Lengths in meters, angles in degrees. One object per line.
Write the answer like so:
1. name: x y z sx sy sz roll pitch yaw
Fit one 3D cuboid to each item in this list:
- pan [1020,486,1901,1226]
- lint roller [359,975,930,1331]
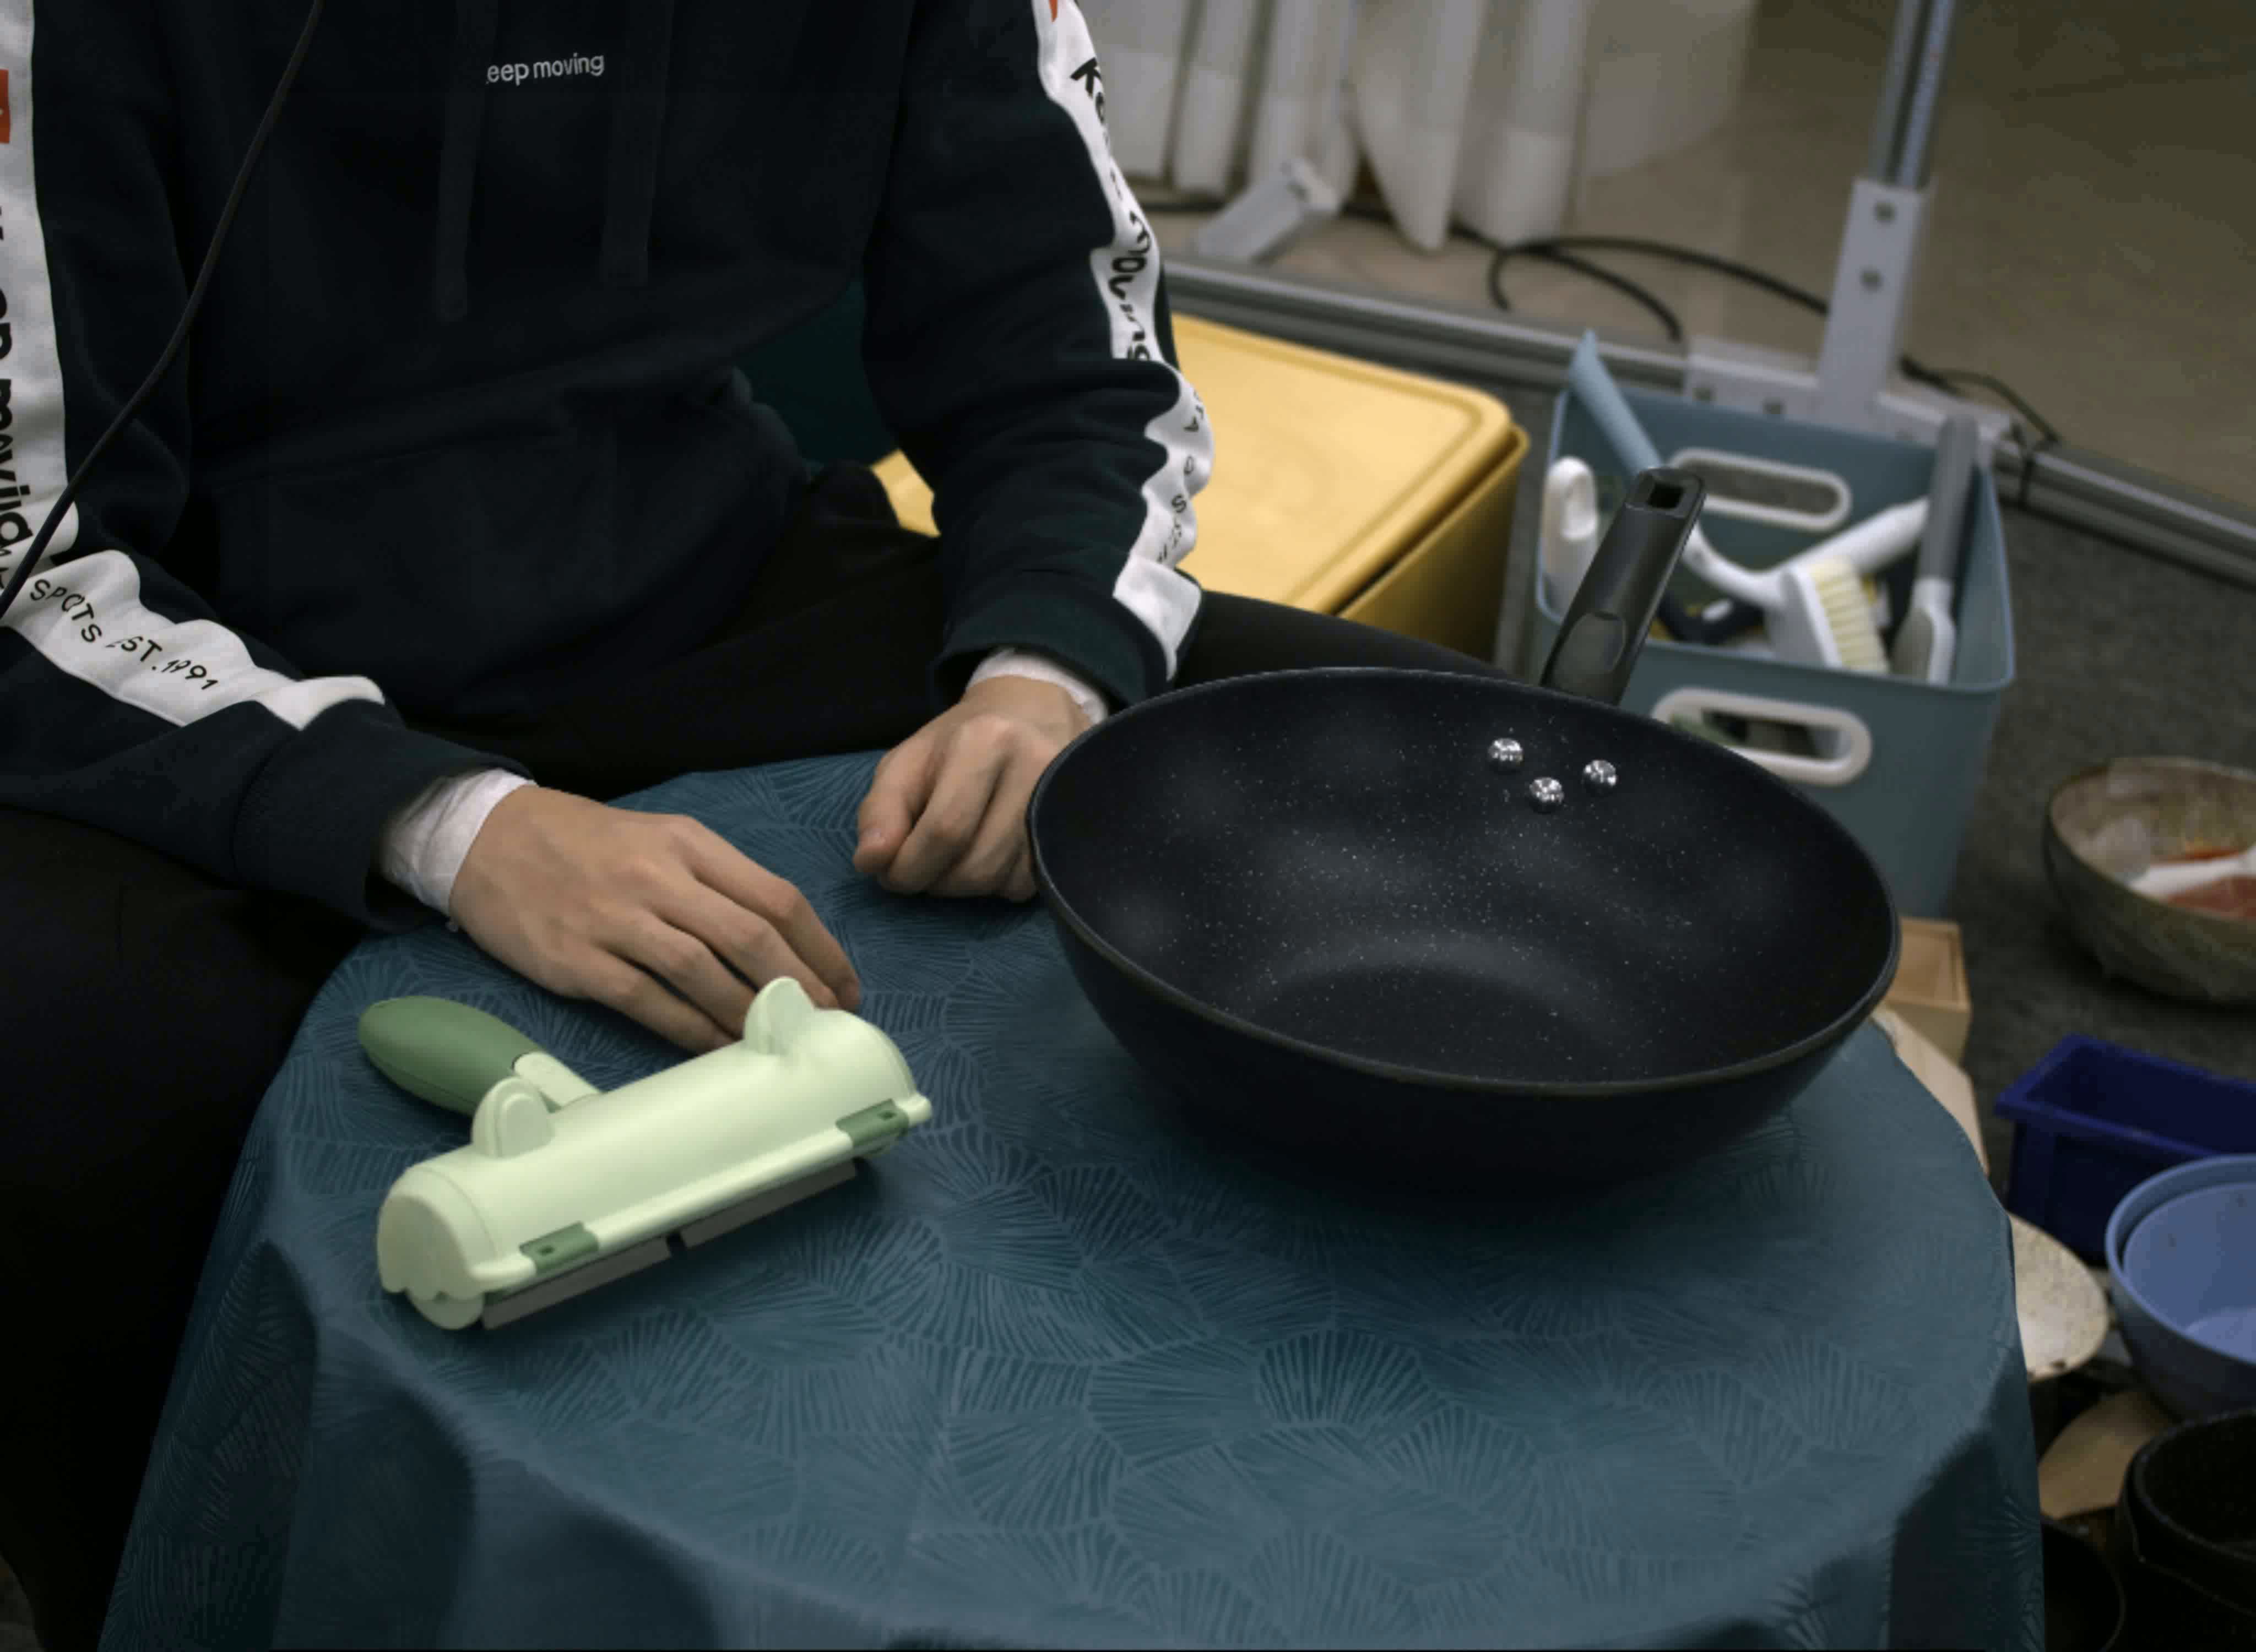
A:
1. pan: 0.138 0.011 1.934 0.310 0.111 0.477 15 28 13
2. lint roller: -0.193 0.079 1.761 0.197 0.082 0.185 -20 42 -41
